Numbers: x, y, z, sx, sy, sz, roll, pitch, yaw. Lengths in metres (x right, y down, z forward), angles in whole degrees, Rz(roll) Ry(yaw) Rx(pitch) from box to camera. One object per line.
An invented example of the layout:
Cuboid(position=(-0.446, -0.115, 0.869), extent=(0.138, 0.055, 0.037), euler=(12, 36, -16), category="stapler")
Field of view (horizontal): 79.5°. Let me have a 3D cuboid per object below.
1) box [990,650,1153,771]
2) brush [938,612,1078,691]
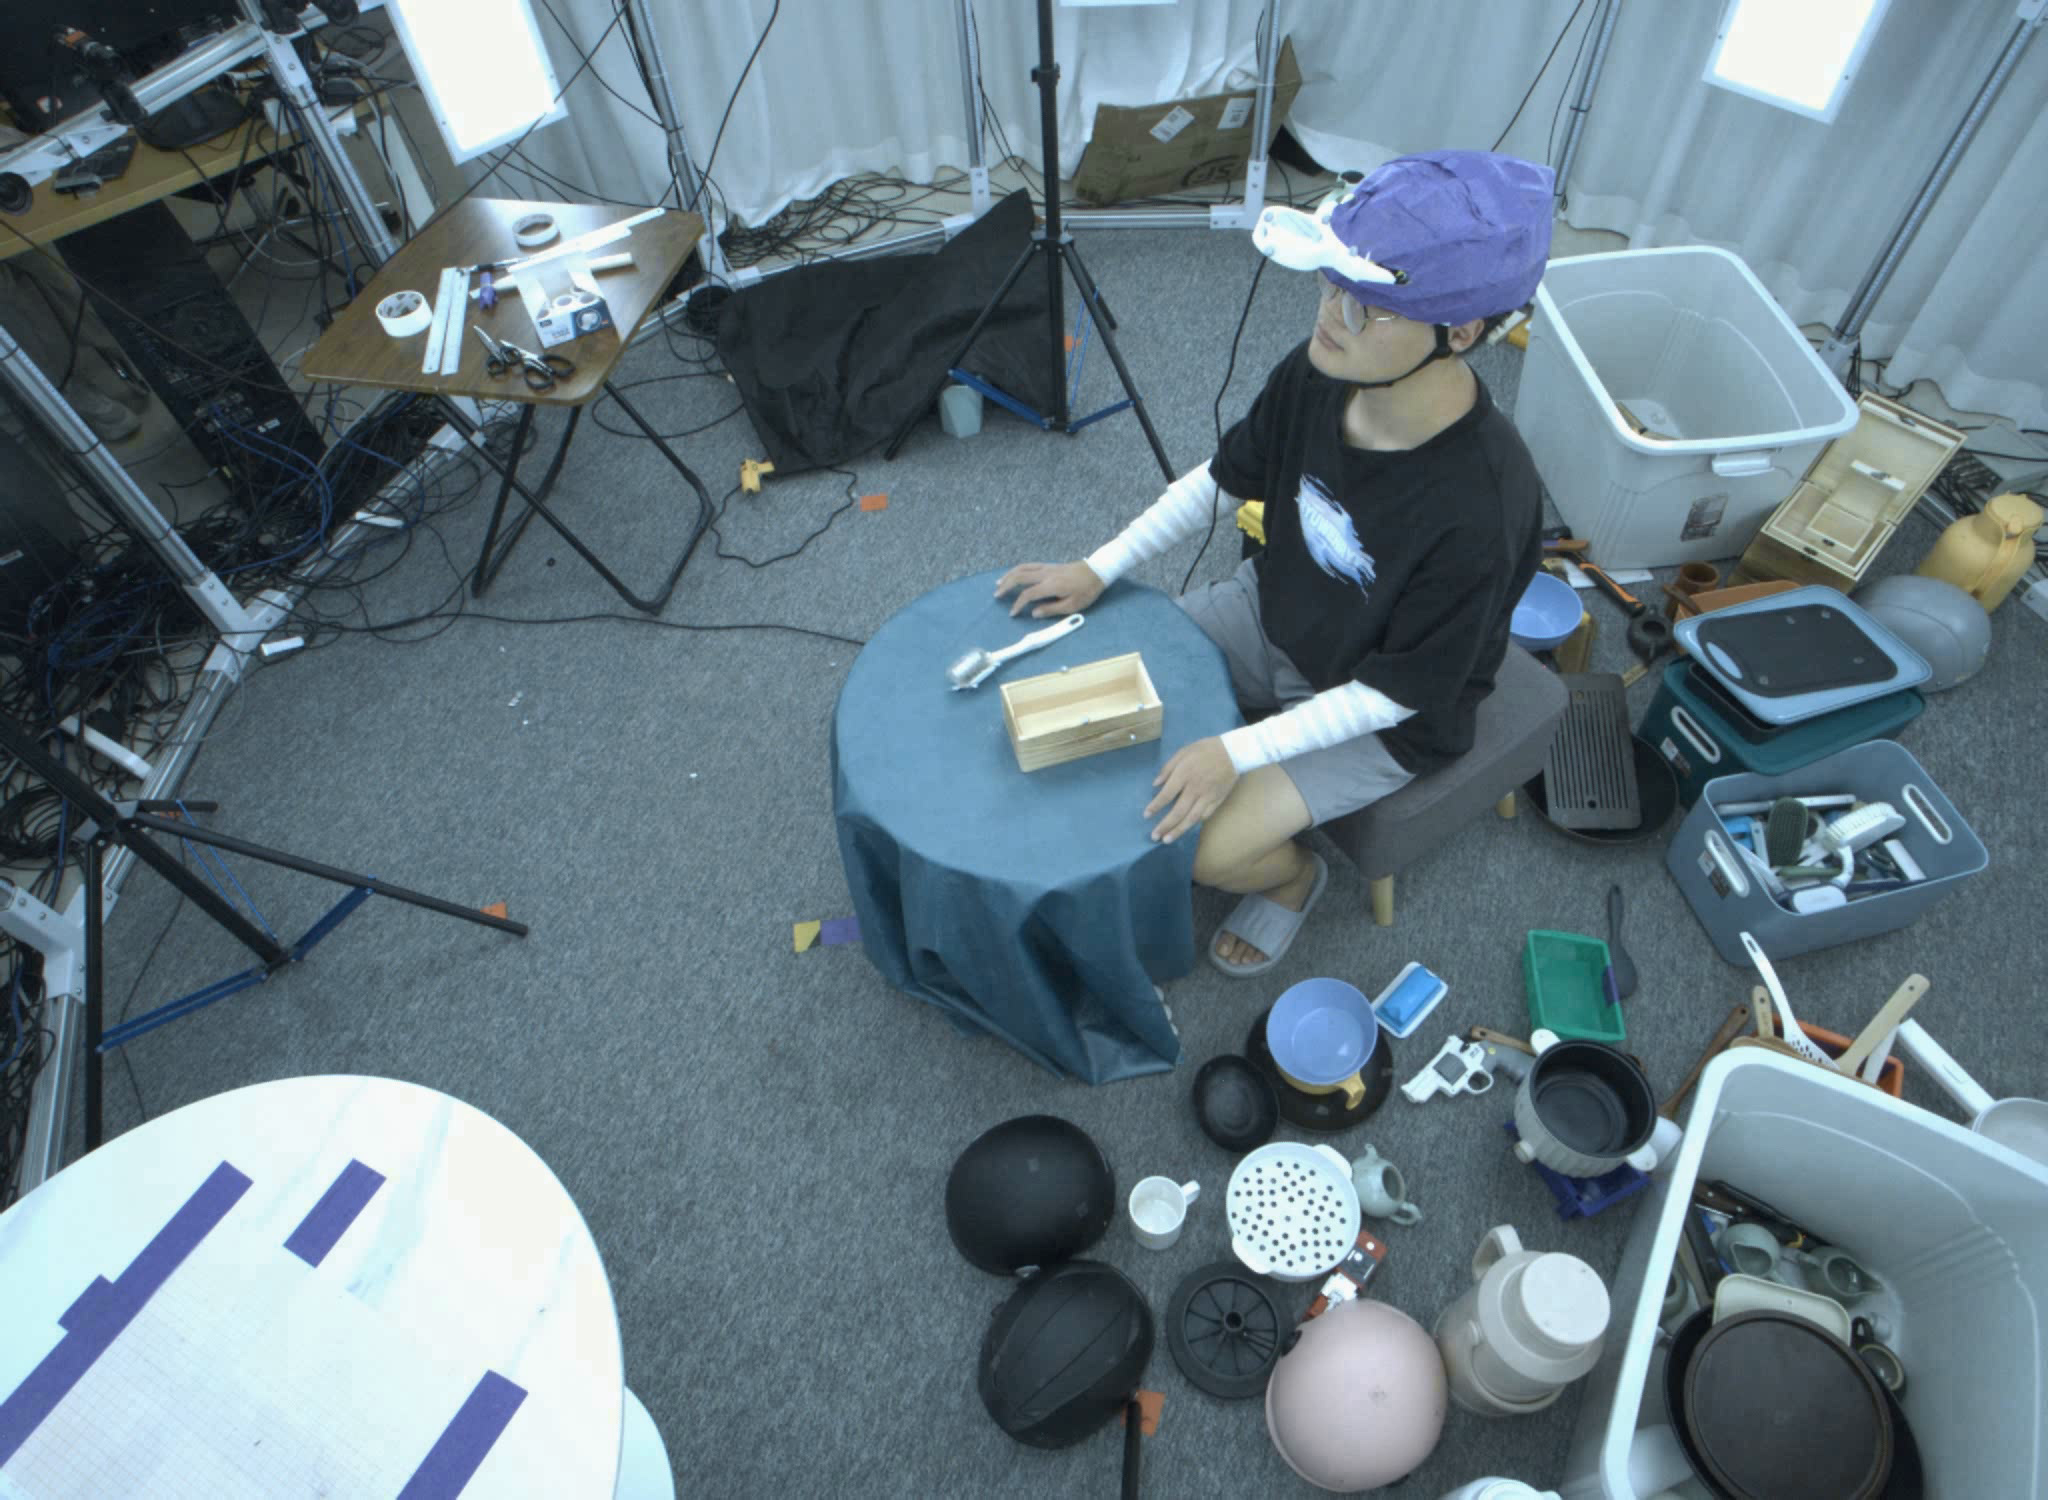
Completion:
Cuboid(position=(0.068, -0.058, 1.769), extent=(0.213, 0.081, 0.106), euler=(-15, 55, -9), category="box")
Cuboid(position=(-0.022, -0.163, 1.865), extent=(0.245, 0.051, 0.034), euler=(-30, 58, -17), category="brush")
